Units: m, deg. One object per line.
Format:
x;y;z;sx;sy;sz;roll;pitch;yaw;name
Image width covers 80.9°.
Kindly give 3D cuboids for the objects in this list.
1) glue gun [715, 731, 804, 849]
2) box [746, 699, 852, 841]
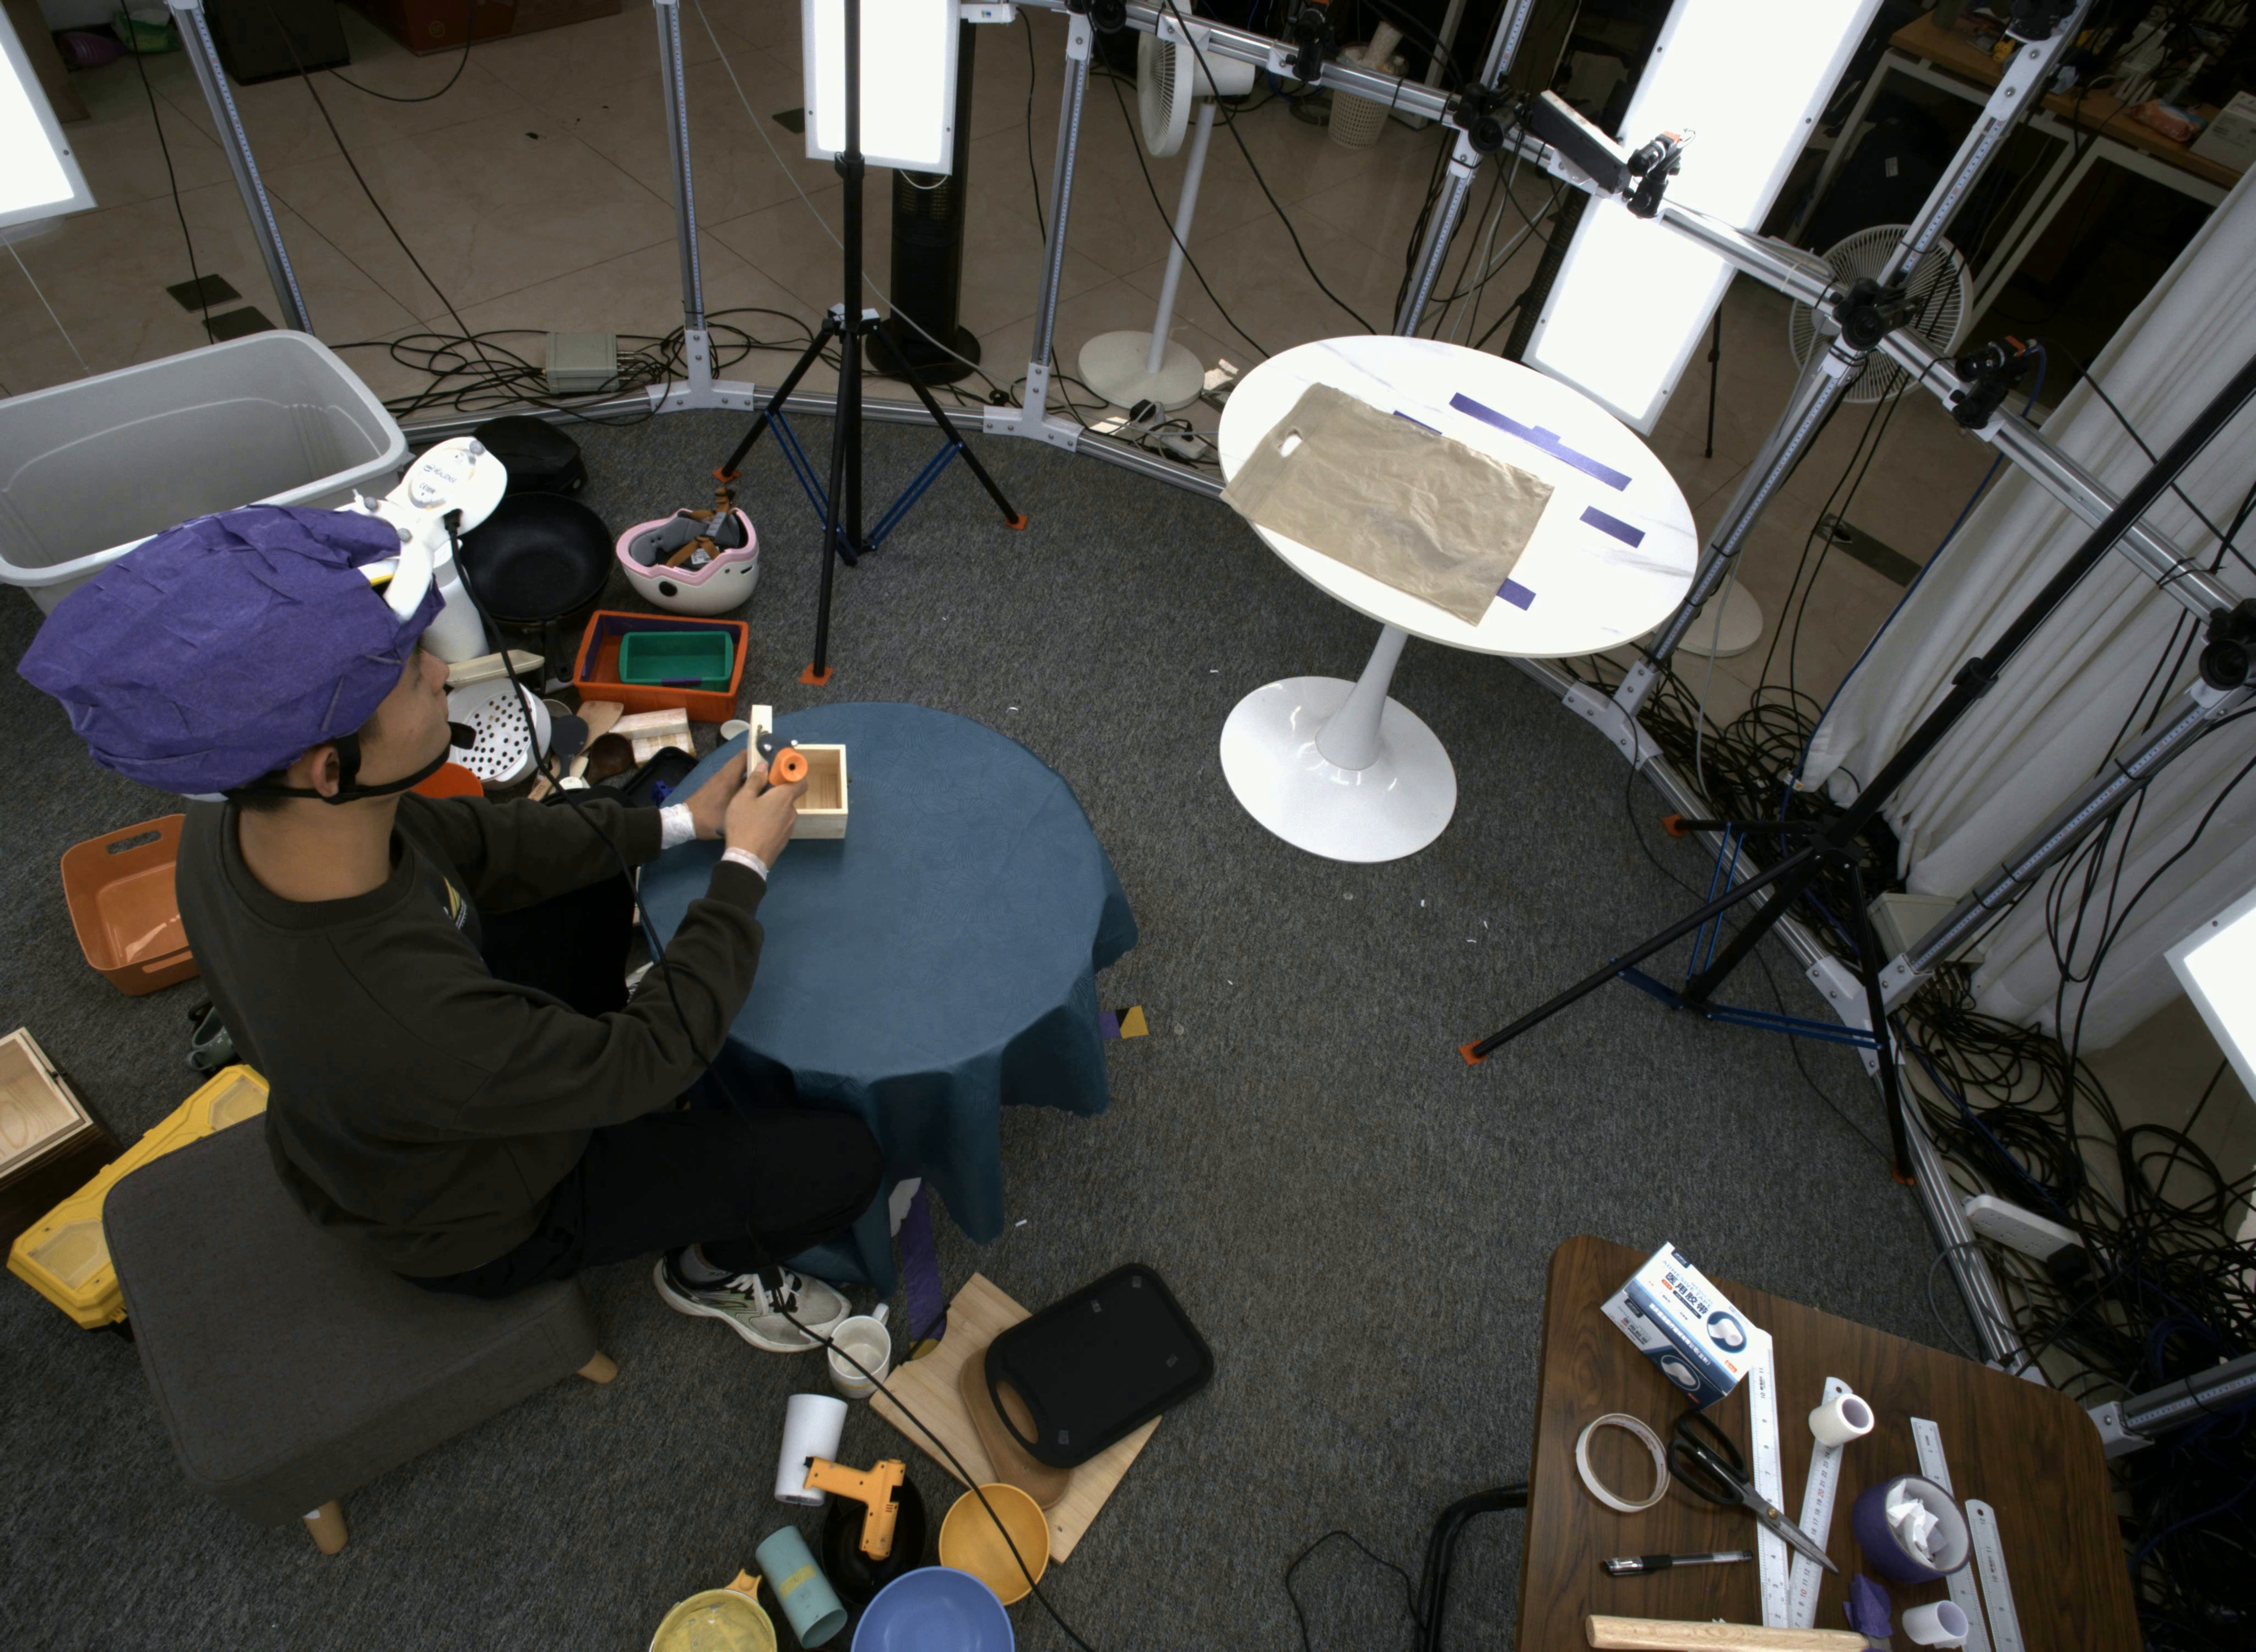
-0.420;-0.047;1.484;0.042;0.114;0.140;31;74;-32;glue gun
-0.416;-0.069;1.640;0.134;0.186;0.101;-2;65;-17;box
